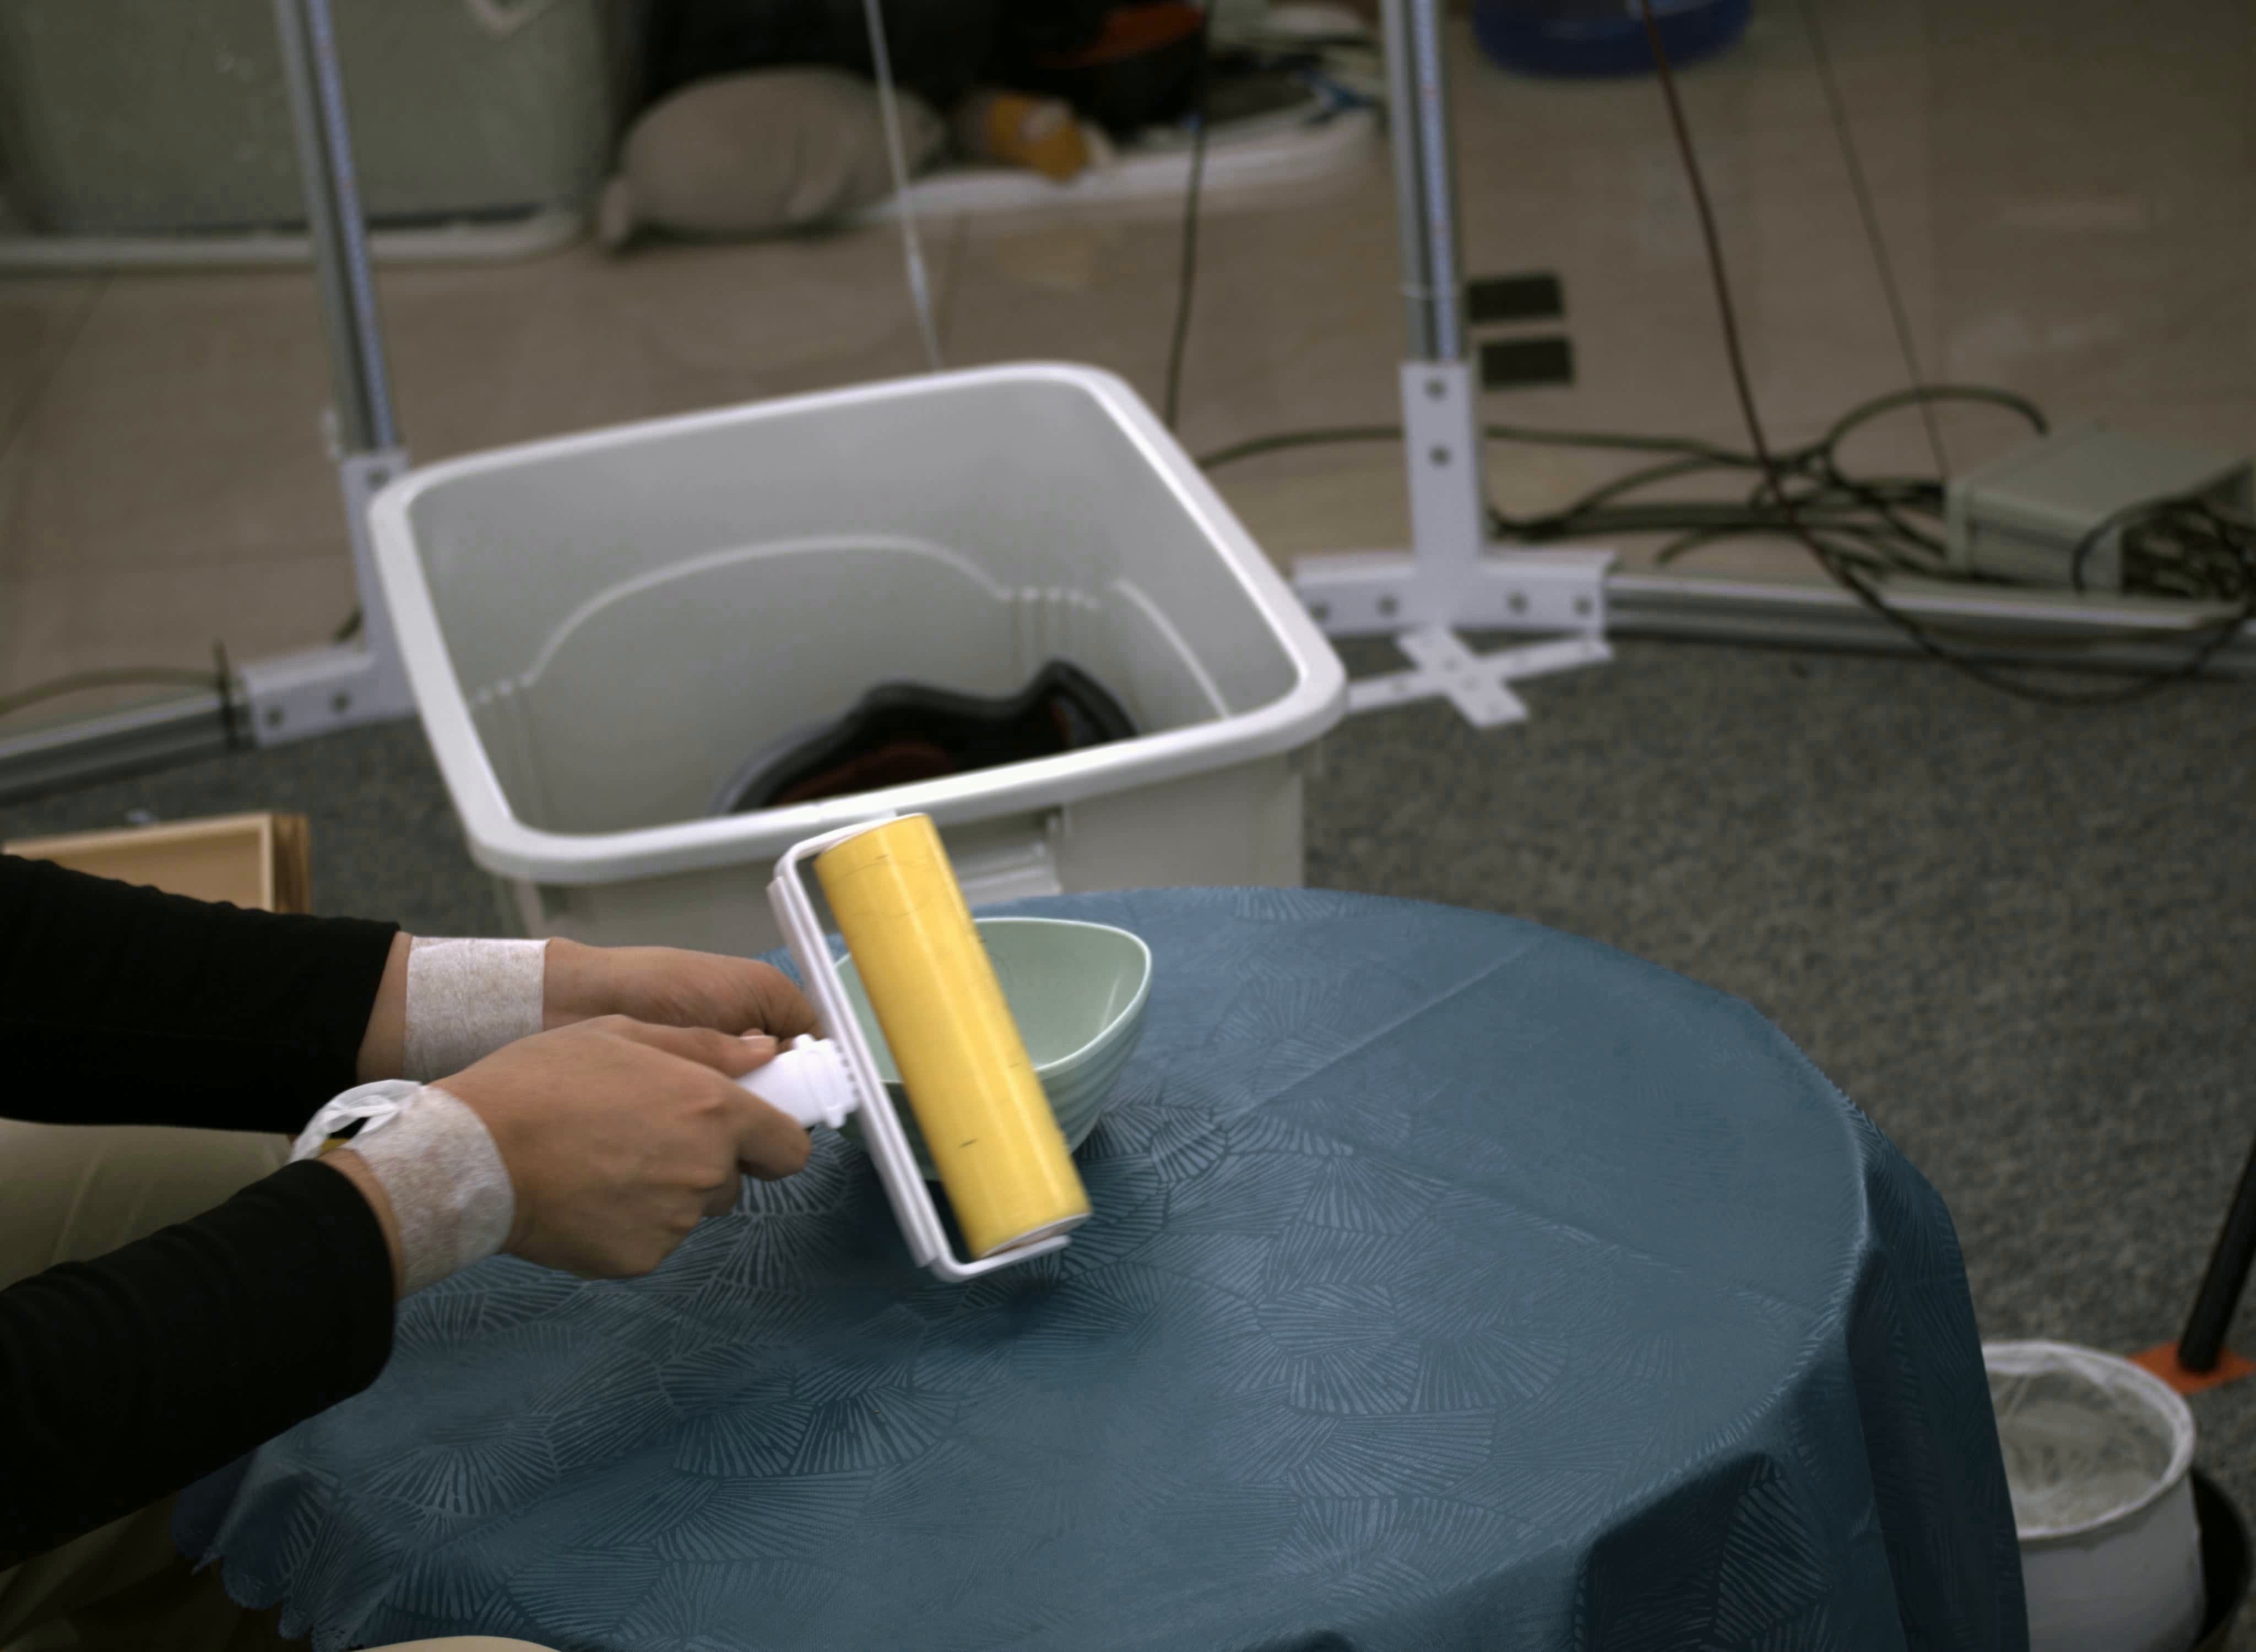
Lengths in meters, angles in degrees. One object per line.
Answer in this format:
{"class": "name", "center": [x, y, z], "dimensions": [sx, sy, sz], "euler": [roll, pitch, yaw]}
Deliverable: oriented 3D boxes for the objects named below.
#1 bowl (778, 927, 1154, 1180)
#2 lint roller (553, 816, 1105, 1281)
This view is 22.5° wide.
{"class": "bowl", "center": [-0.058, 0.093, 2.179], "dimensions": [0.151, 0.059, 0.149], "euler": [-7, 24, 3]}
{"class": "lint roller", "center": [-0.118, 0.097, 2.045], "dimensions": [0.191, 0.173, 0.052], "euler": [-18, -9, -36]}
